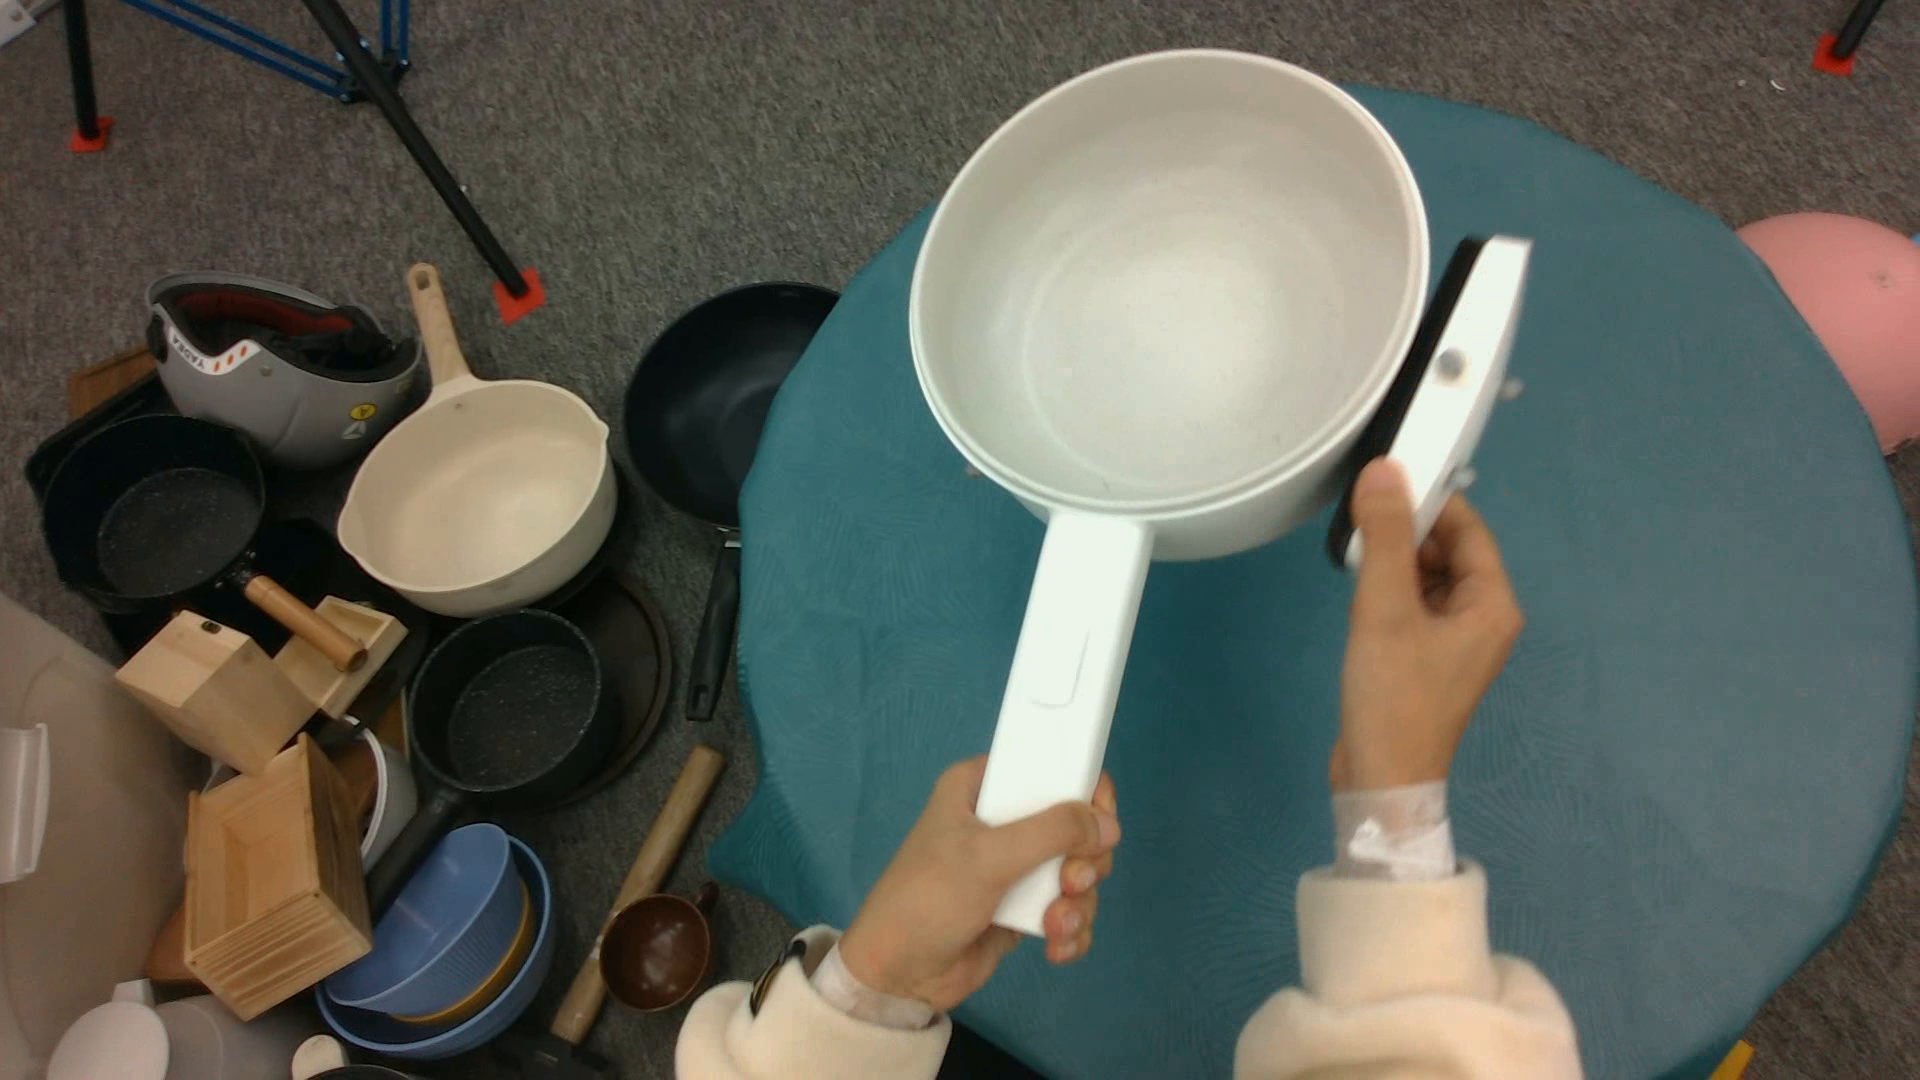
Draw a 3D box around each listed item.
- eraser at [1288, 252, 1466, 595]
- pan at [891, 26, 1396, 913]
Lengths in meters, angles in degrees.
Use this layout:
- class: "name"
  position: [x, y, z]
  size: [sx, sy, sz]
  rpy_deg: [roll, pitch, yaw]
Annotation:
- class: "eraser"
  position: [0.166, -0.045, 0.532]
  size: [0.034, 0.063, 0.131]
  rpy_deg: [19, 86, 25]
- class: "pan"
  position: [0.065, -0.029, 0.570]
  size: [0.201, 0.102, 0.355]
  rpy_deg: [8, 79, 19]
